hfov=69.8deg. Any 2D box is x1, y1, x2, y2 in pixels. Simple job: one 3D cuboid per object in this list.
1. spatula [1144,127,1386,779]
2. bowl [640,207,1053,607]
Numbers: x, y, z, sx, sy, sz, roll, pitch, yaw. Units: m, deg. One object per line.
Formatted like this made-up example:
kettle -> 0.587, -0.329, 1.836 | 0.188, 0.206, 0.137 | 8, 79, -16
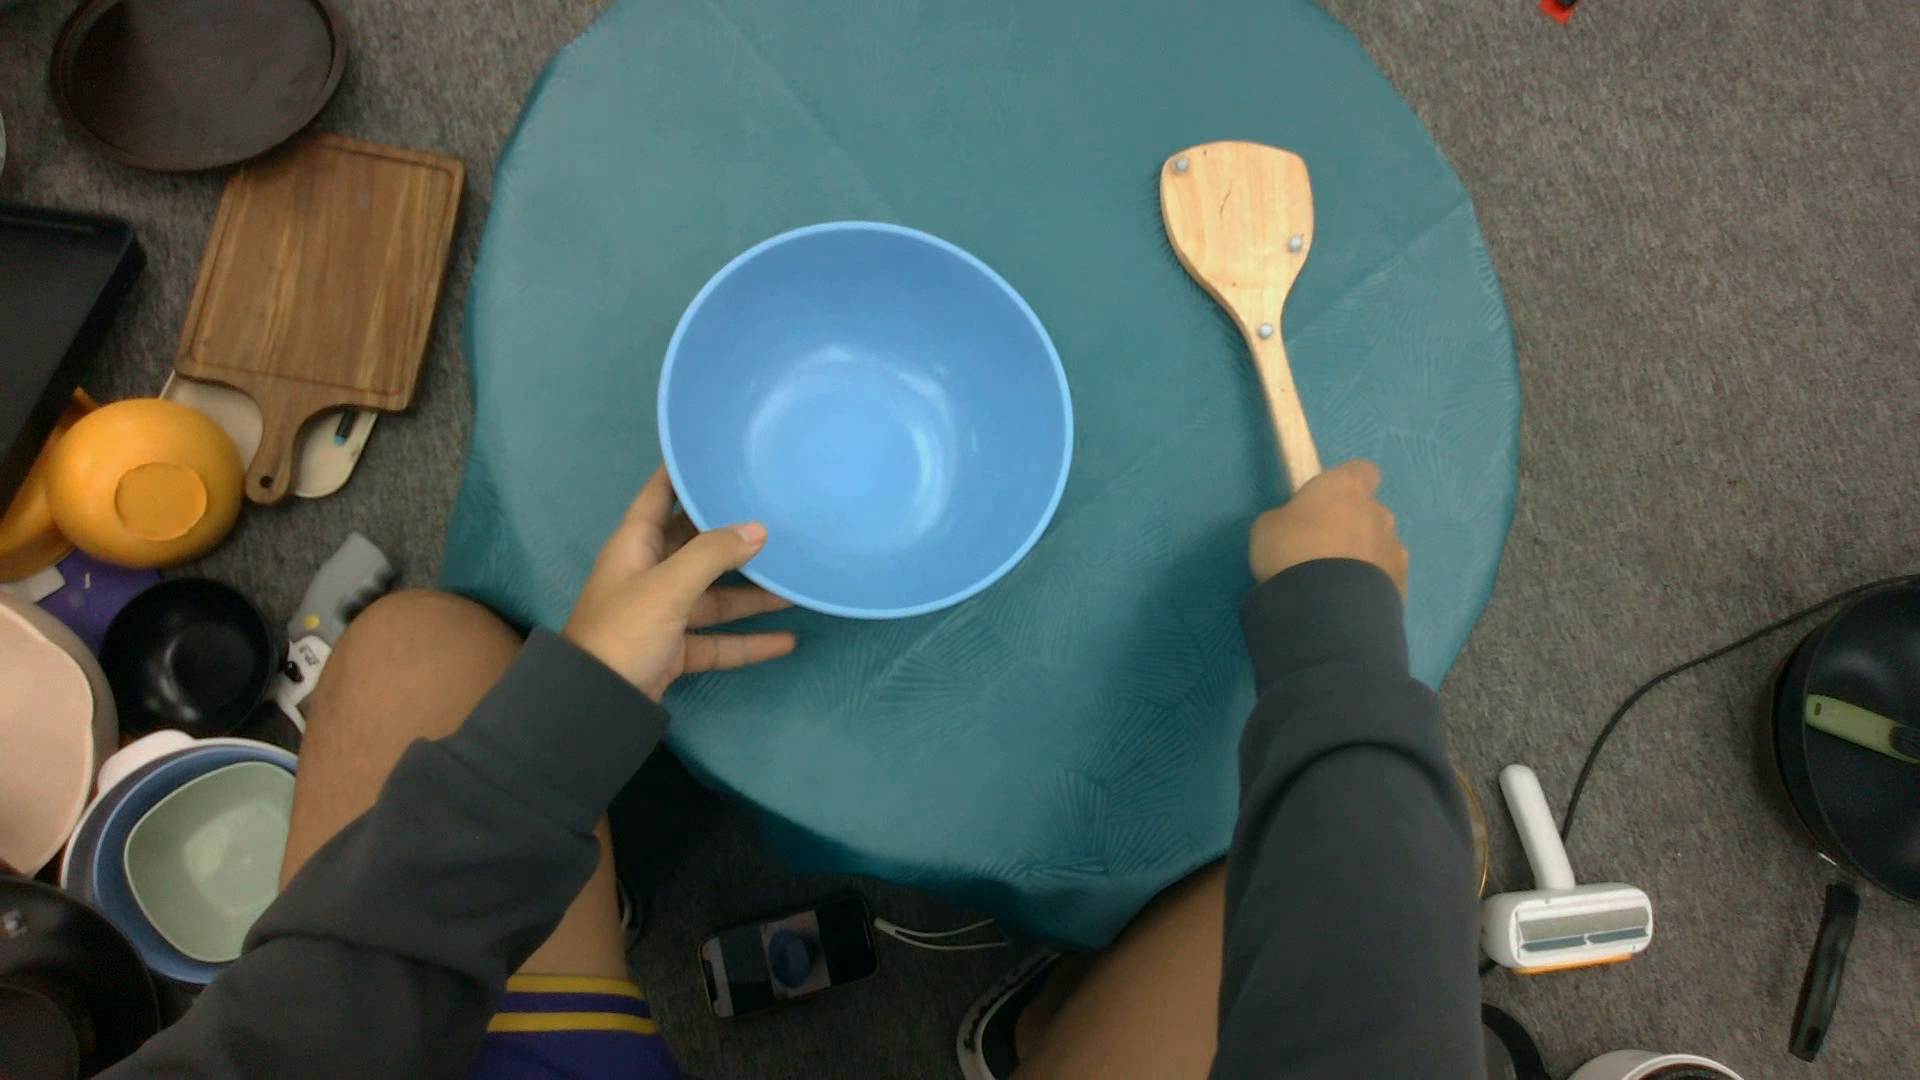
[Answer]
spatula -> 0.182, -0.062, 0.769 | 0.096, 0.018, 0.391 | -6, 71, -12
bowl -> -0.061, -0.055, 0.688 | 0.197, 0.095, 0.197 | 4, 76, -15
